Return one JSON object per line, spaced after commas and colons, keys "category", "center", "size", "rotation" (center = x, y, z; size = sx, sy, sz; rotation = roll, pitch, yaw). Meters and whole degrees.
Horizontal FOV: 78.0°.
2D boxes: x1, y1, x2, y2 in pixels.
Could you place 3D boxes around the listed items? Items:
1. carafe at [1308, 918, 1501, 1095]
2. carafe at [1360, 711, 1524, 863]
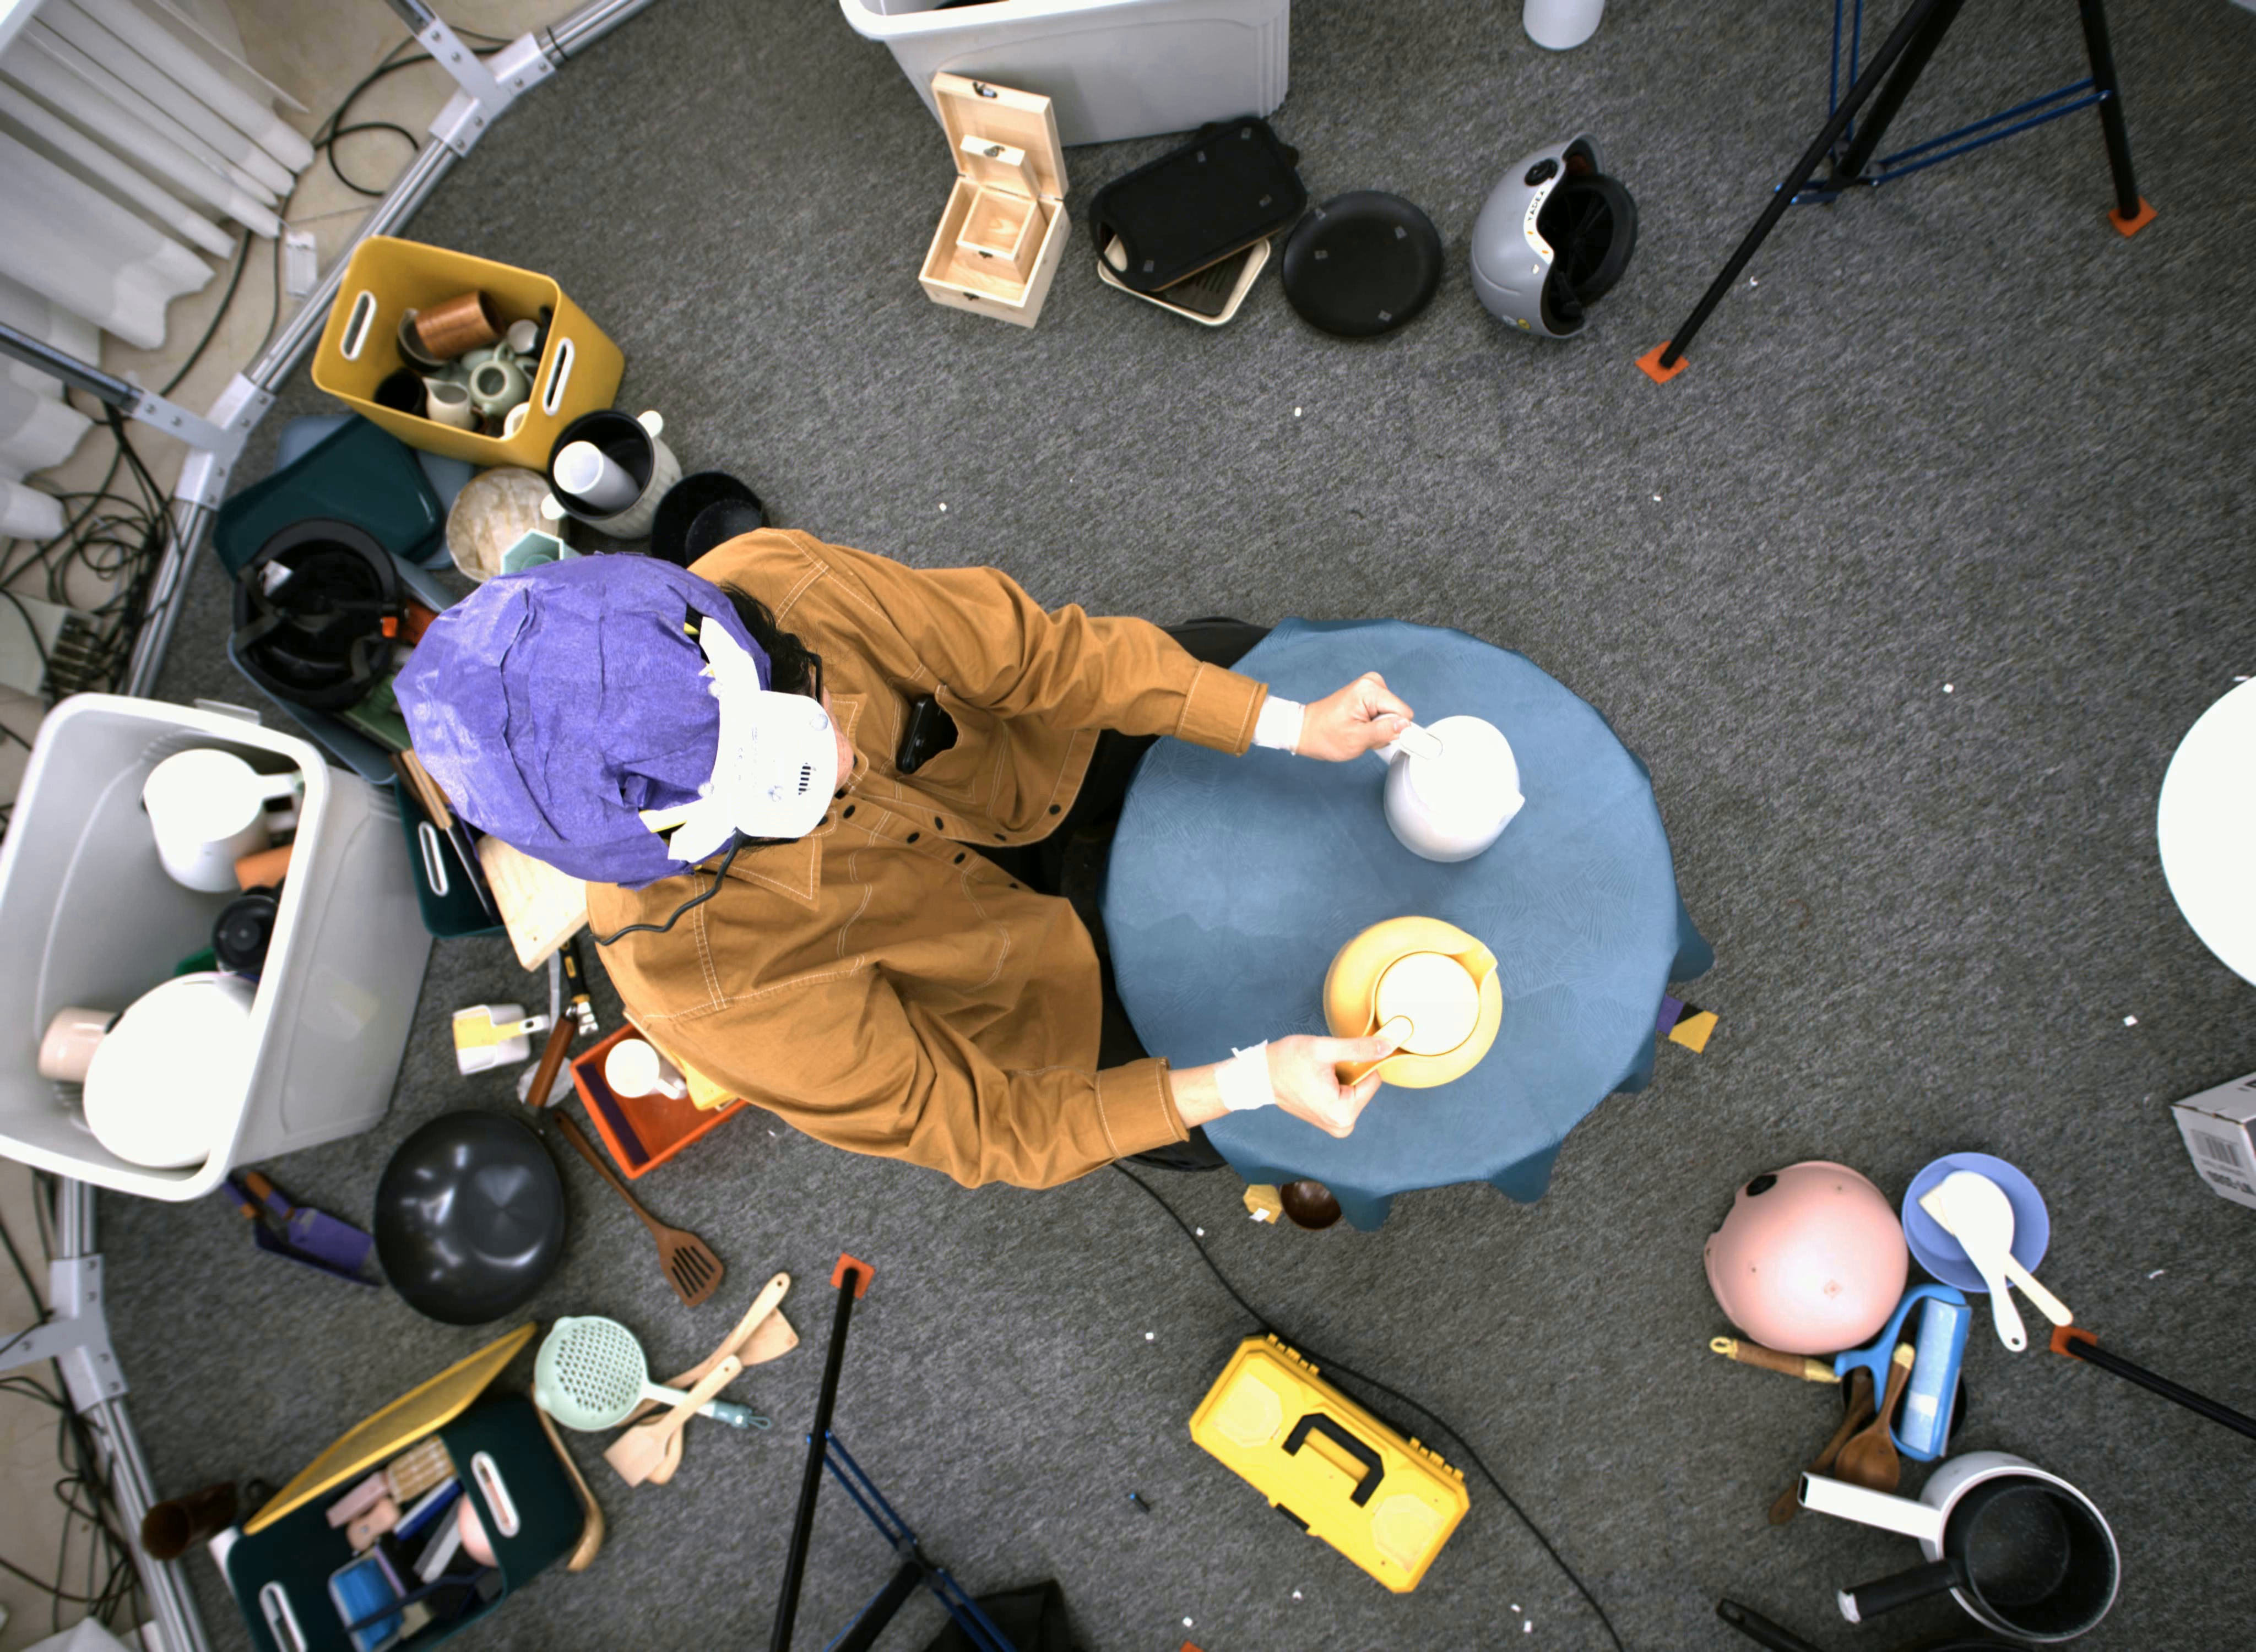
{"category": "carafe", "center": [0.254, 0.177, 1.315], "size": [0.202, 0.261, 0.162], "rotation": [-38, 80, 0]}
{"category": "carafe", "center": [0.300, -0.050, 1.336], "size": [0.167, 0.249, 0.133], "rotation": [35, 92, 12]}
